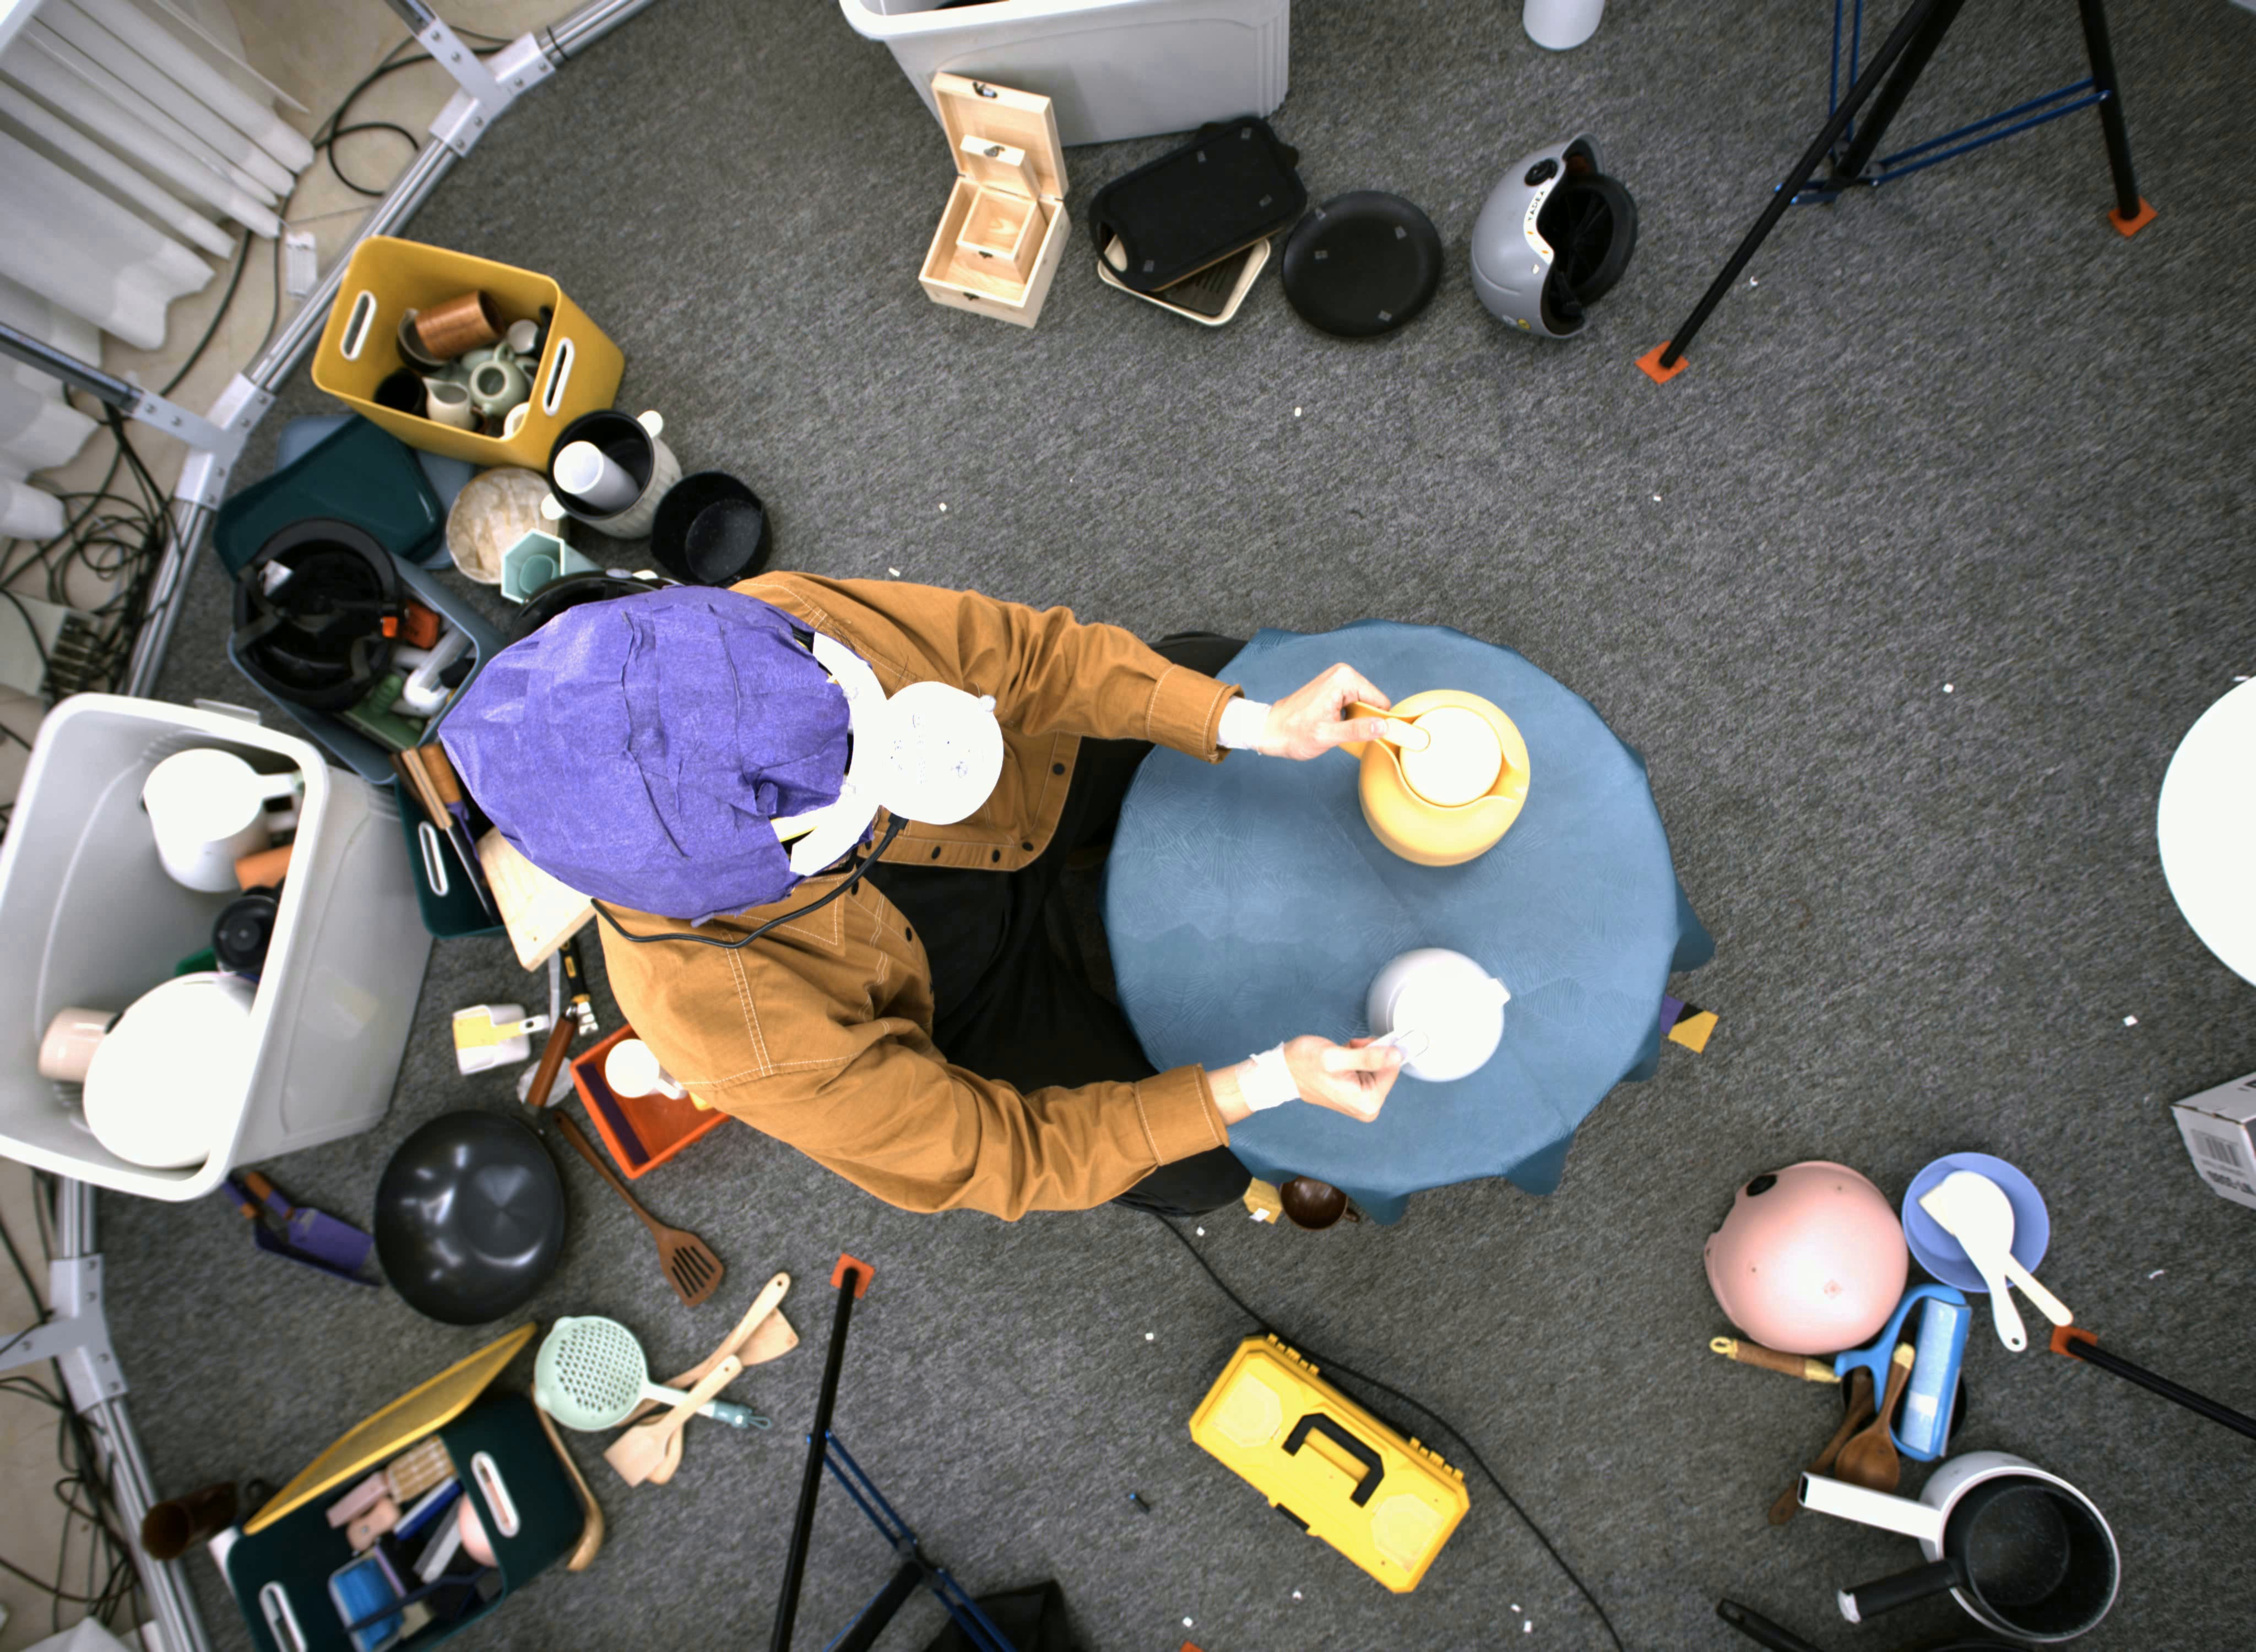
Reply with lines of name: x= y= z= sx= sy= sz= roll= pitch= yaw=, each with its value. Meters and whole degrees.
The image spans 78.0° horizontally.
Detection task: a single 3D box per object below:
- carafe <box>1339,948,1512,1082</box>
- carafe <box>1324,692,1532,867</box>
carafe: x=0.281 y=0.191 z=1.326 sx=0.168 sy=0.248 sz=0.132 roll=-31 pitch=82 yaw=7
carafe: x=0.288 y=-0.059 z=1.332 sx=0.202 sy=0.261 sz=0.163 roll=27 pitch=89 yaw=10
